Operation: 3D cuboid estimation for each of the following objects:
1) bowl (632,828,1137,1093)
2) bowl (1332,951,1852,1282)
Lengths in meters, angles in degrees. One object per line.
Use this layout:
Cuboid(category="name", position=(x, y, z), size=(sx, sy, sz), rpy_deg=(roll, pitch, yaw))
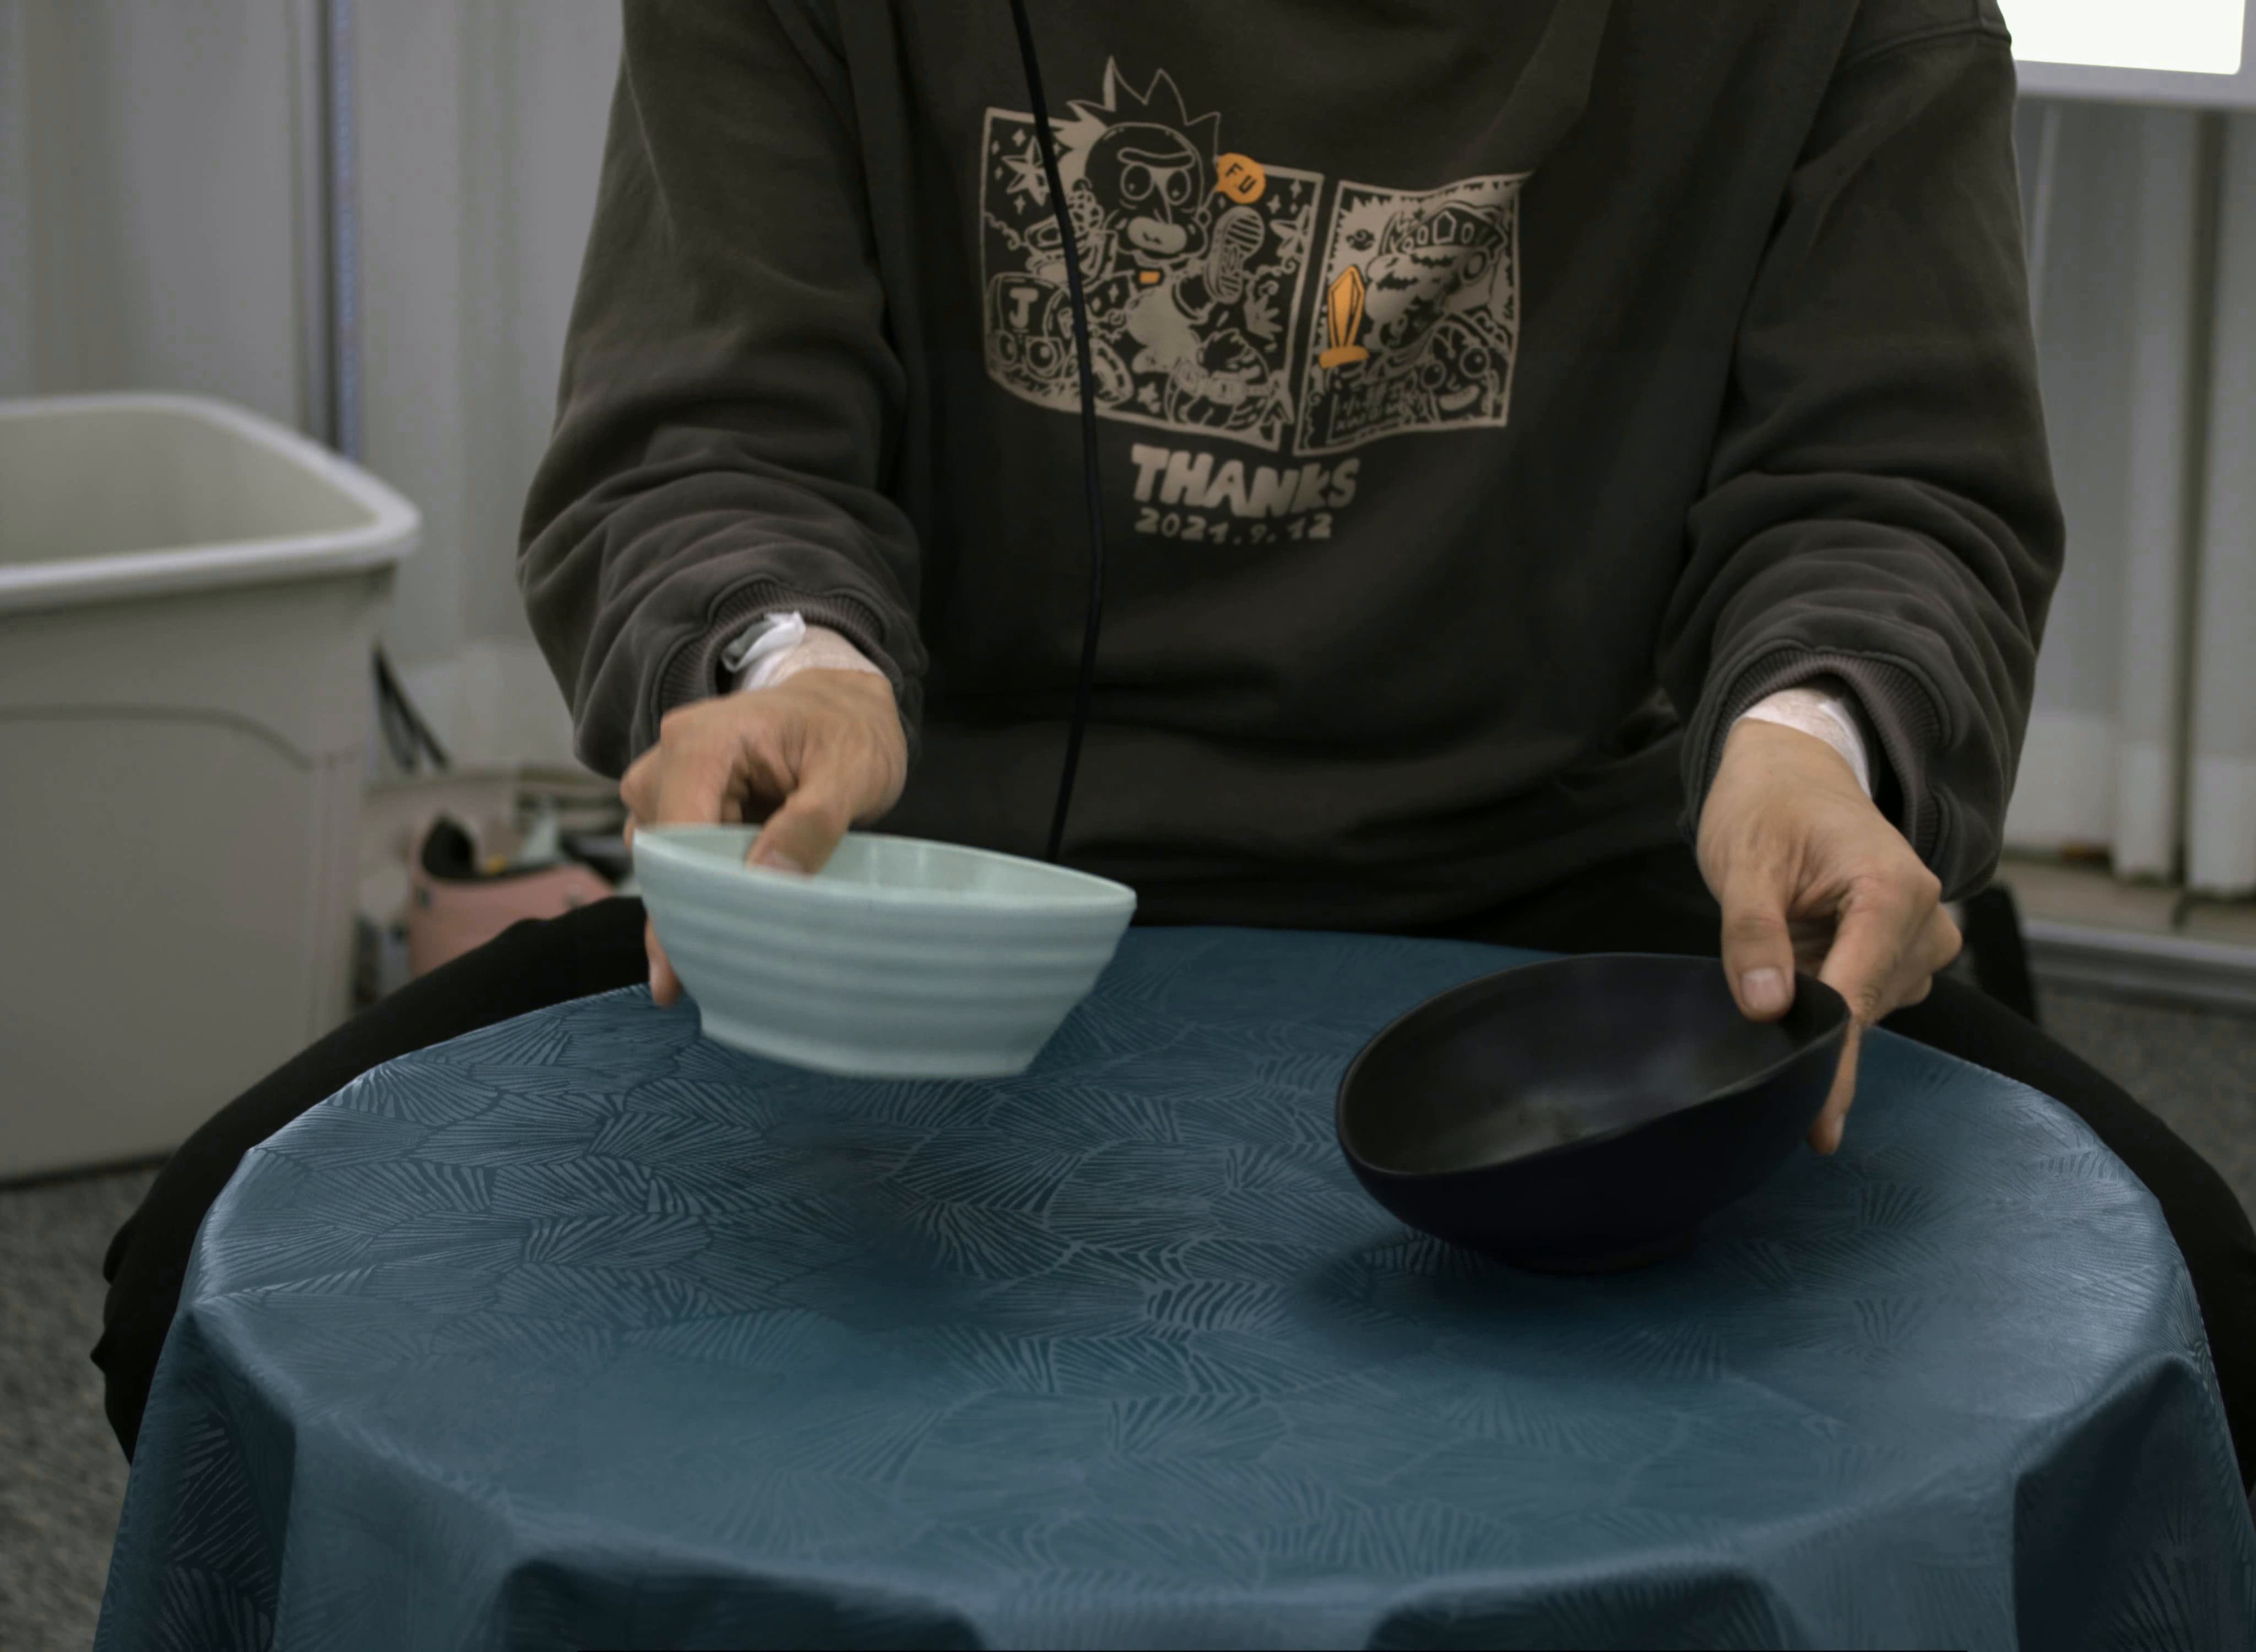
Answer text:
Cuboid(category="bowl", position=(-0.075, 0.042, 1.566), size=(0.151, 0.059, 0.151), rpy_deg=(7, 8, -1))
Cuboid(category="bowl", position=(0.141, 0.093, 1.573), size=(0.171, 0.067, 0.135), rpy_deg=(-22, 23, -36))
